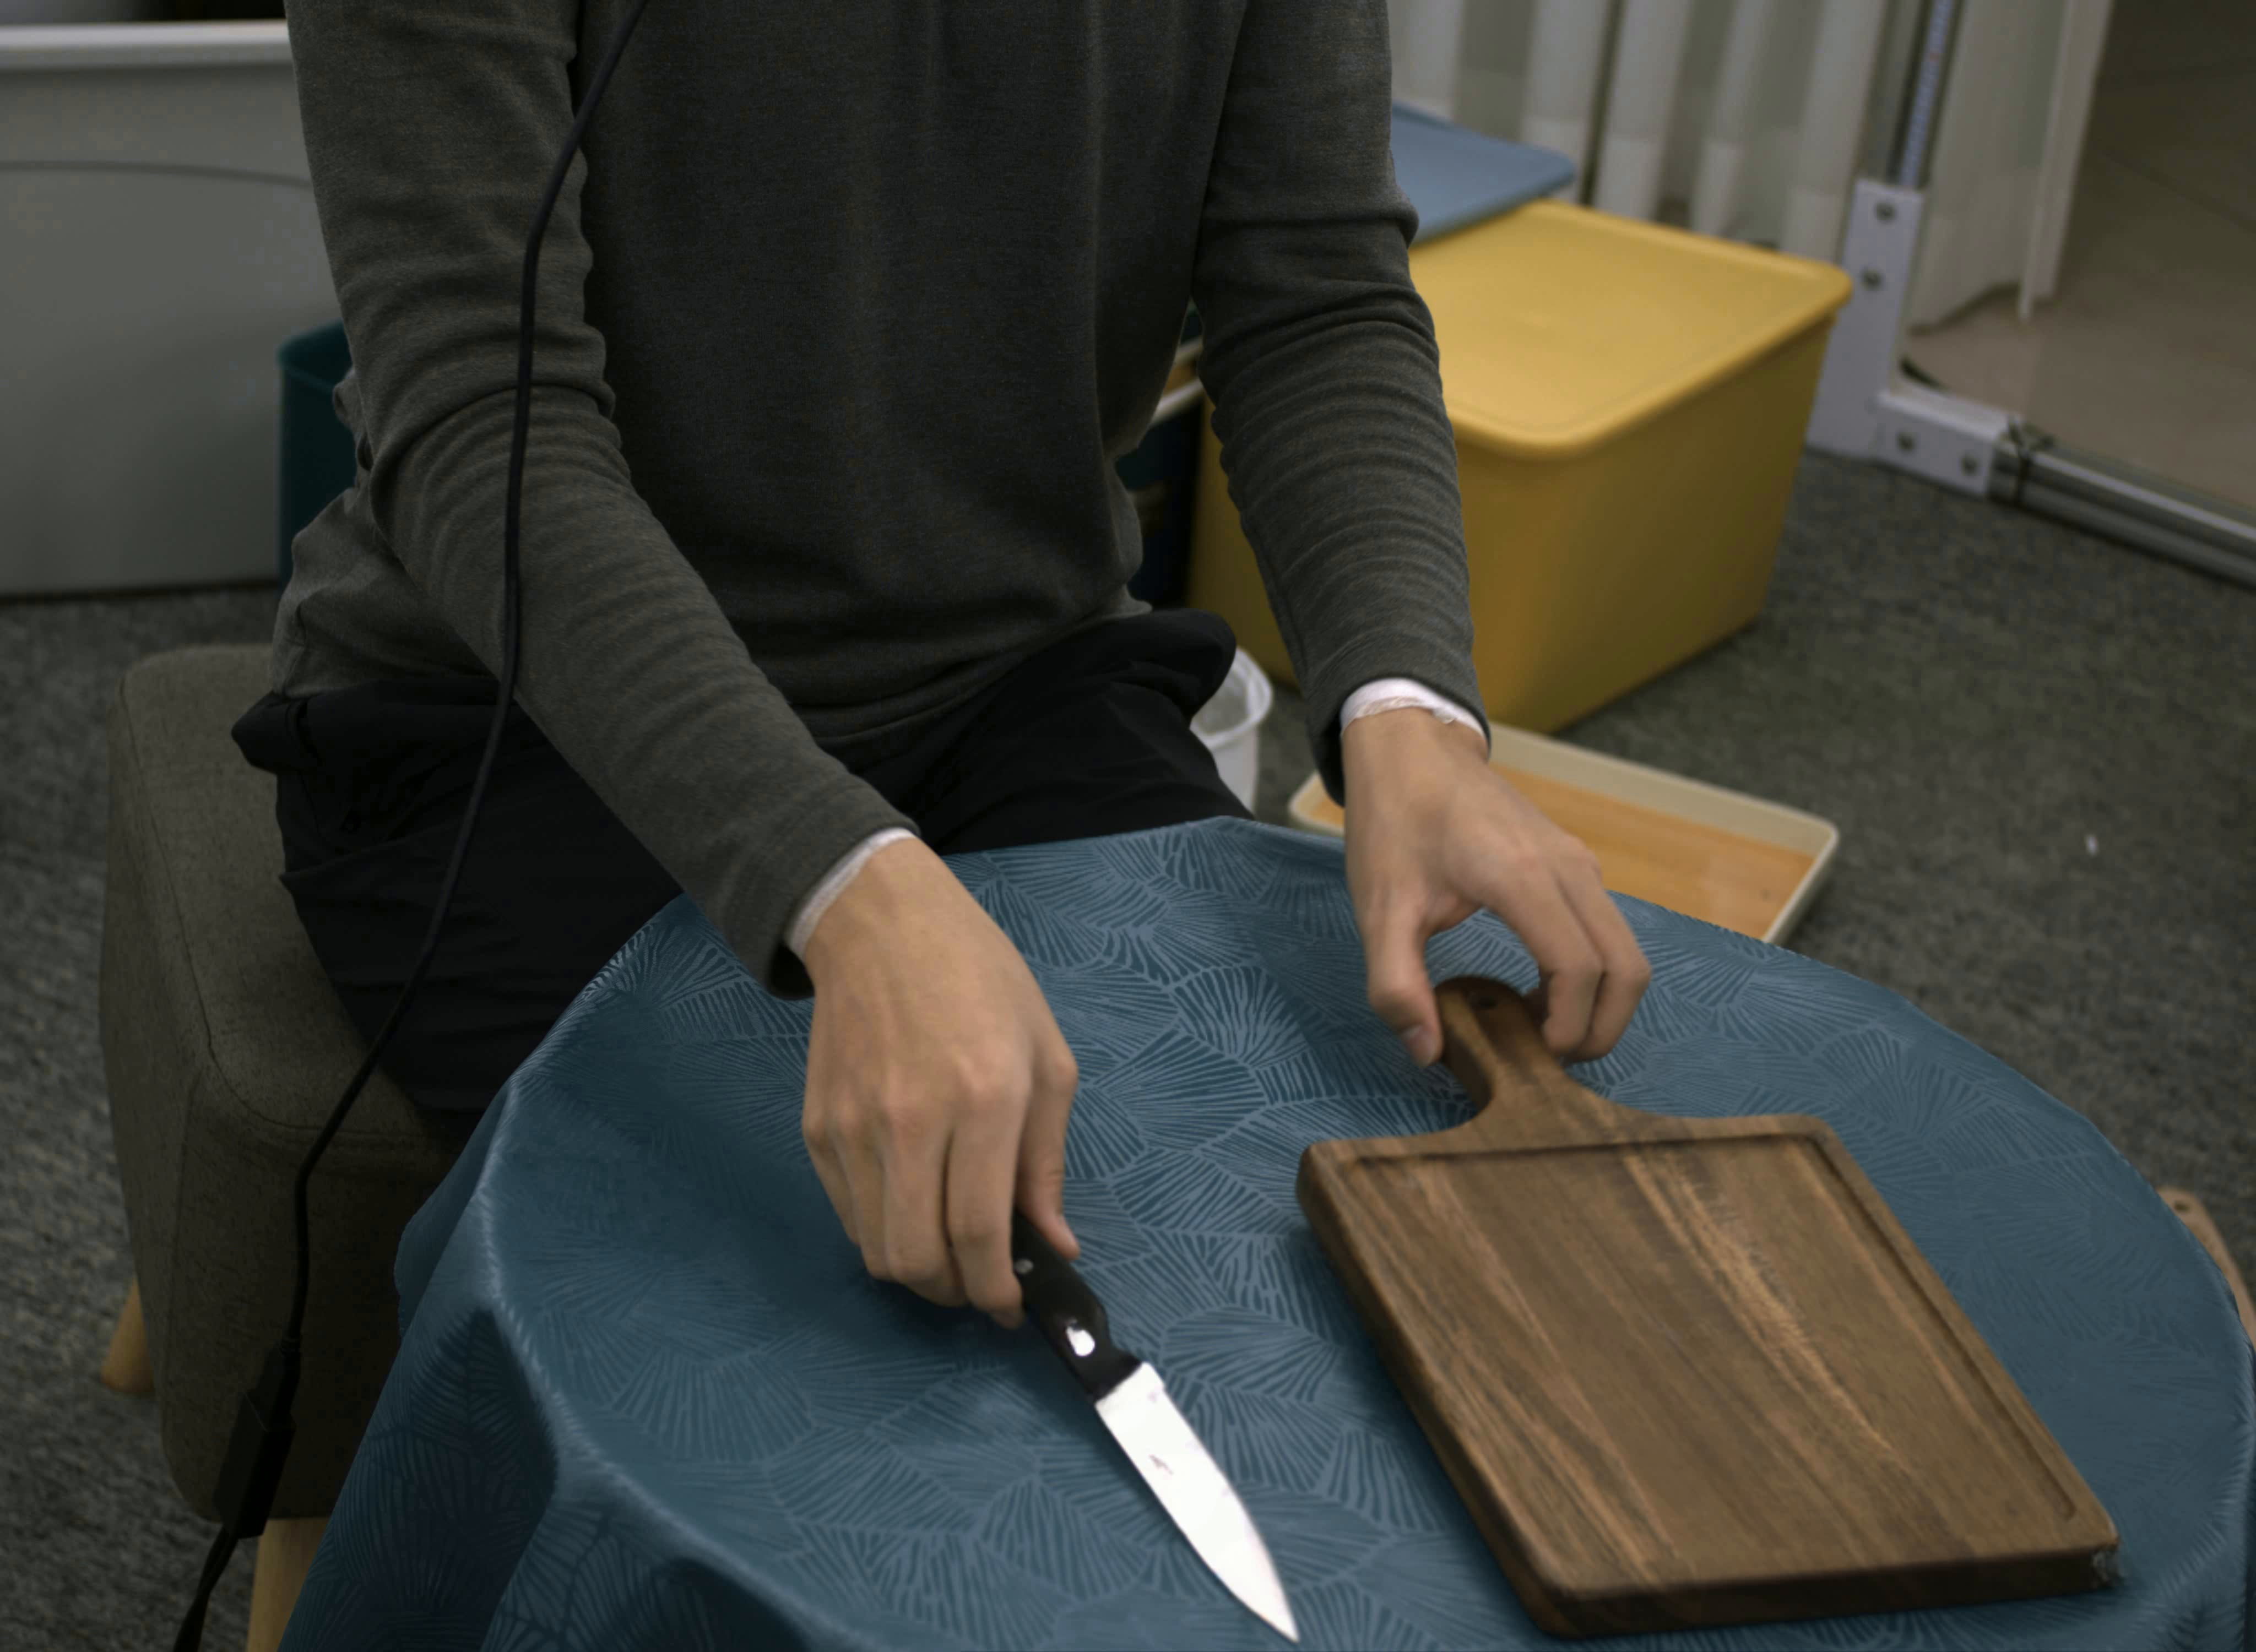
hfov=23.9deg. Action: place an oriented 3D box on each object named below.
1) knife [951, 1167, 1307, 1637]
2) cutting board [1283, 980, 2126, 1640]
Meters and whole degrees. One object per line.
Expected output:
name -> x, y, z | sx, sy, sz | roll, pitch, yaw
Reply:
knife -> -0.002, 0.180, 1.666 | 0.024, 0.016, 0.240 | -33, 42, -7
cutting board -> 0.167, 0.148, 1.761 | 0.200, 0.023, 0.355 | -3, 29, -18
